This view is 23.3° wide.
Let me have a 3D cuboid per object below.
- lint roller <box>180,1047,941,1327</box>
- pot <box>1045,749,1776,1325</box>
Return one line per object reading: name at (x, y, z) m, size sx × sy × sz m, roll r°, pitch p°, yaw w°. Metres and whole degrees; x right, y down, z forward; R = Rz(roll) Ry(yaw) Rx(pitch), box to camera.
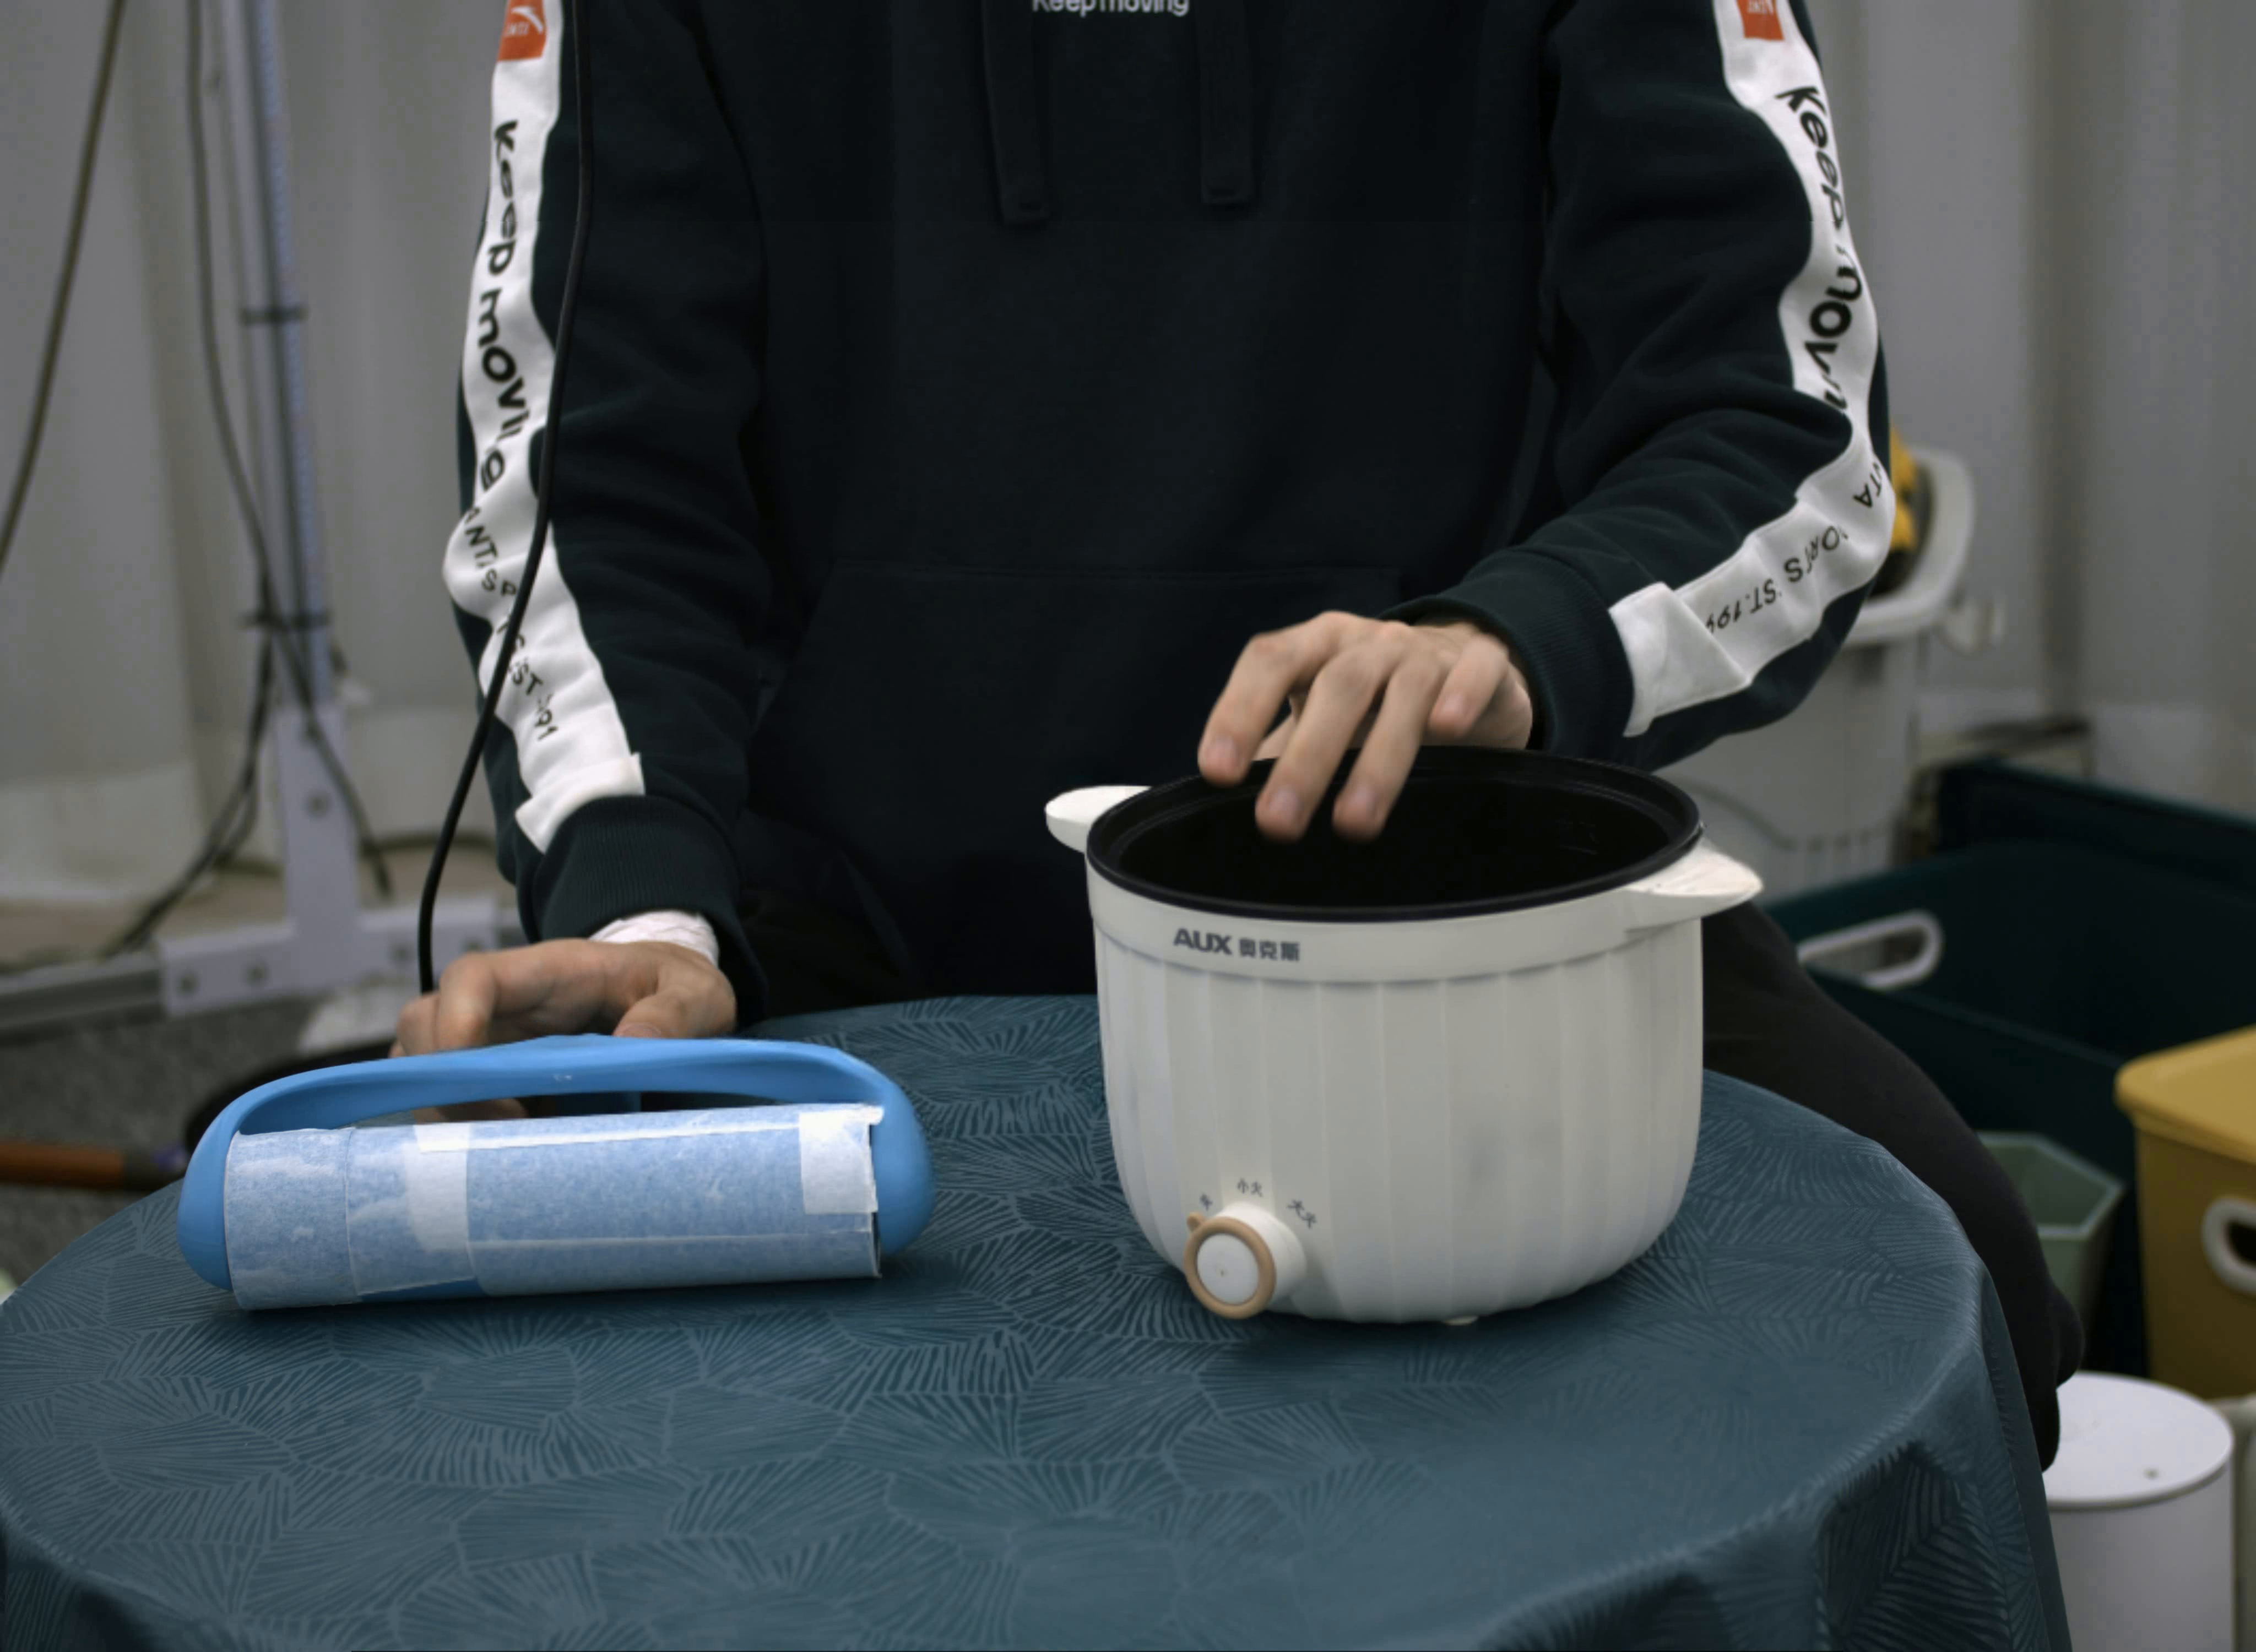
lint roller at (-0.175, 0.100, 1.700) m, size 0.228 × 0.067 × 0.181 m, roll -6°, pitch 16°, yaw -3°
pot at (0.080, 0.065, 1.617) m, size 0.241 × 0.142 × 0.190 m, roll 5°, pitch 13°, yaw 33°
